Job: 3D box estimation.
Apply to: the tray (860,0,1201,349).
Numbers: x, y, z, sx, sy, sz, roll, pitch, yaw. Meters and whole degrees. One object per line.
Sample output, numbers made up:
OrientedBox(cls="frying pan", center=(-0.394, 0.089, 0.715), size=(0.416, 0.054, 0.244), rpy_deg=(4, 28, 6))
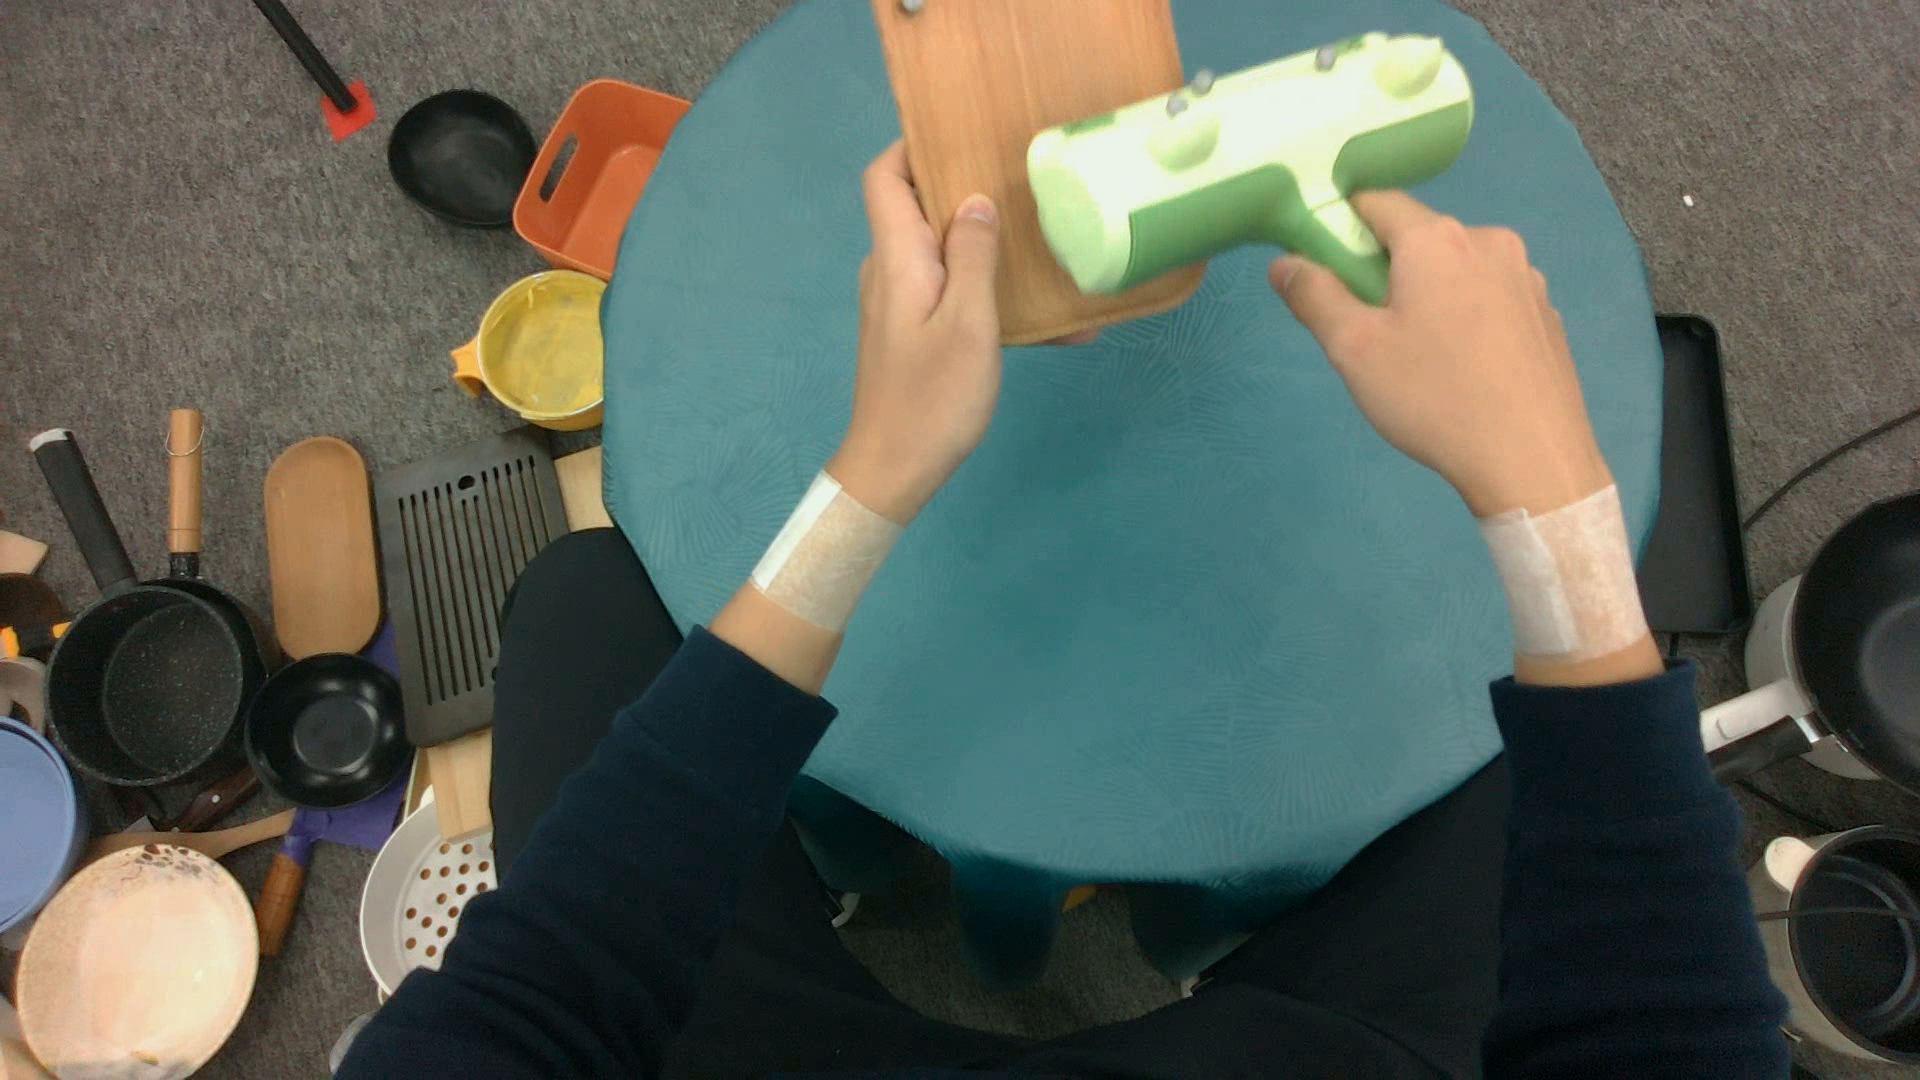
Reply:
OrientedBox(cls="tray", center=(0.022, -0.208, 0.553), size=(0.131, 0.023, 0.250), rpy_deg=(-16, 101, -20))

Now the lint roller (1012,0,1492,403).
OrientedBox(cls="lint roller", center=(0.145, -0.137, 0.516), size=(0.199, 0.082, 0.183), rpy_deg=(-25, 63, -26))
